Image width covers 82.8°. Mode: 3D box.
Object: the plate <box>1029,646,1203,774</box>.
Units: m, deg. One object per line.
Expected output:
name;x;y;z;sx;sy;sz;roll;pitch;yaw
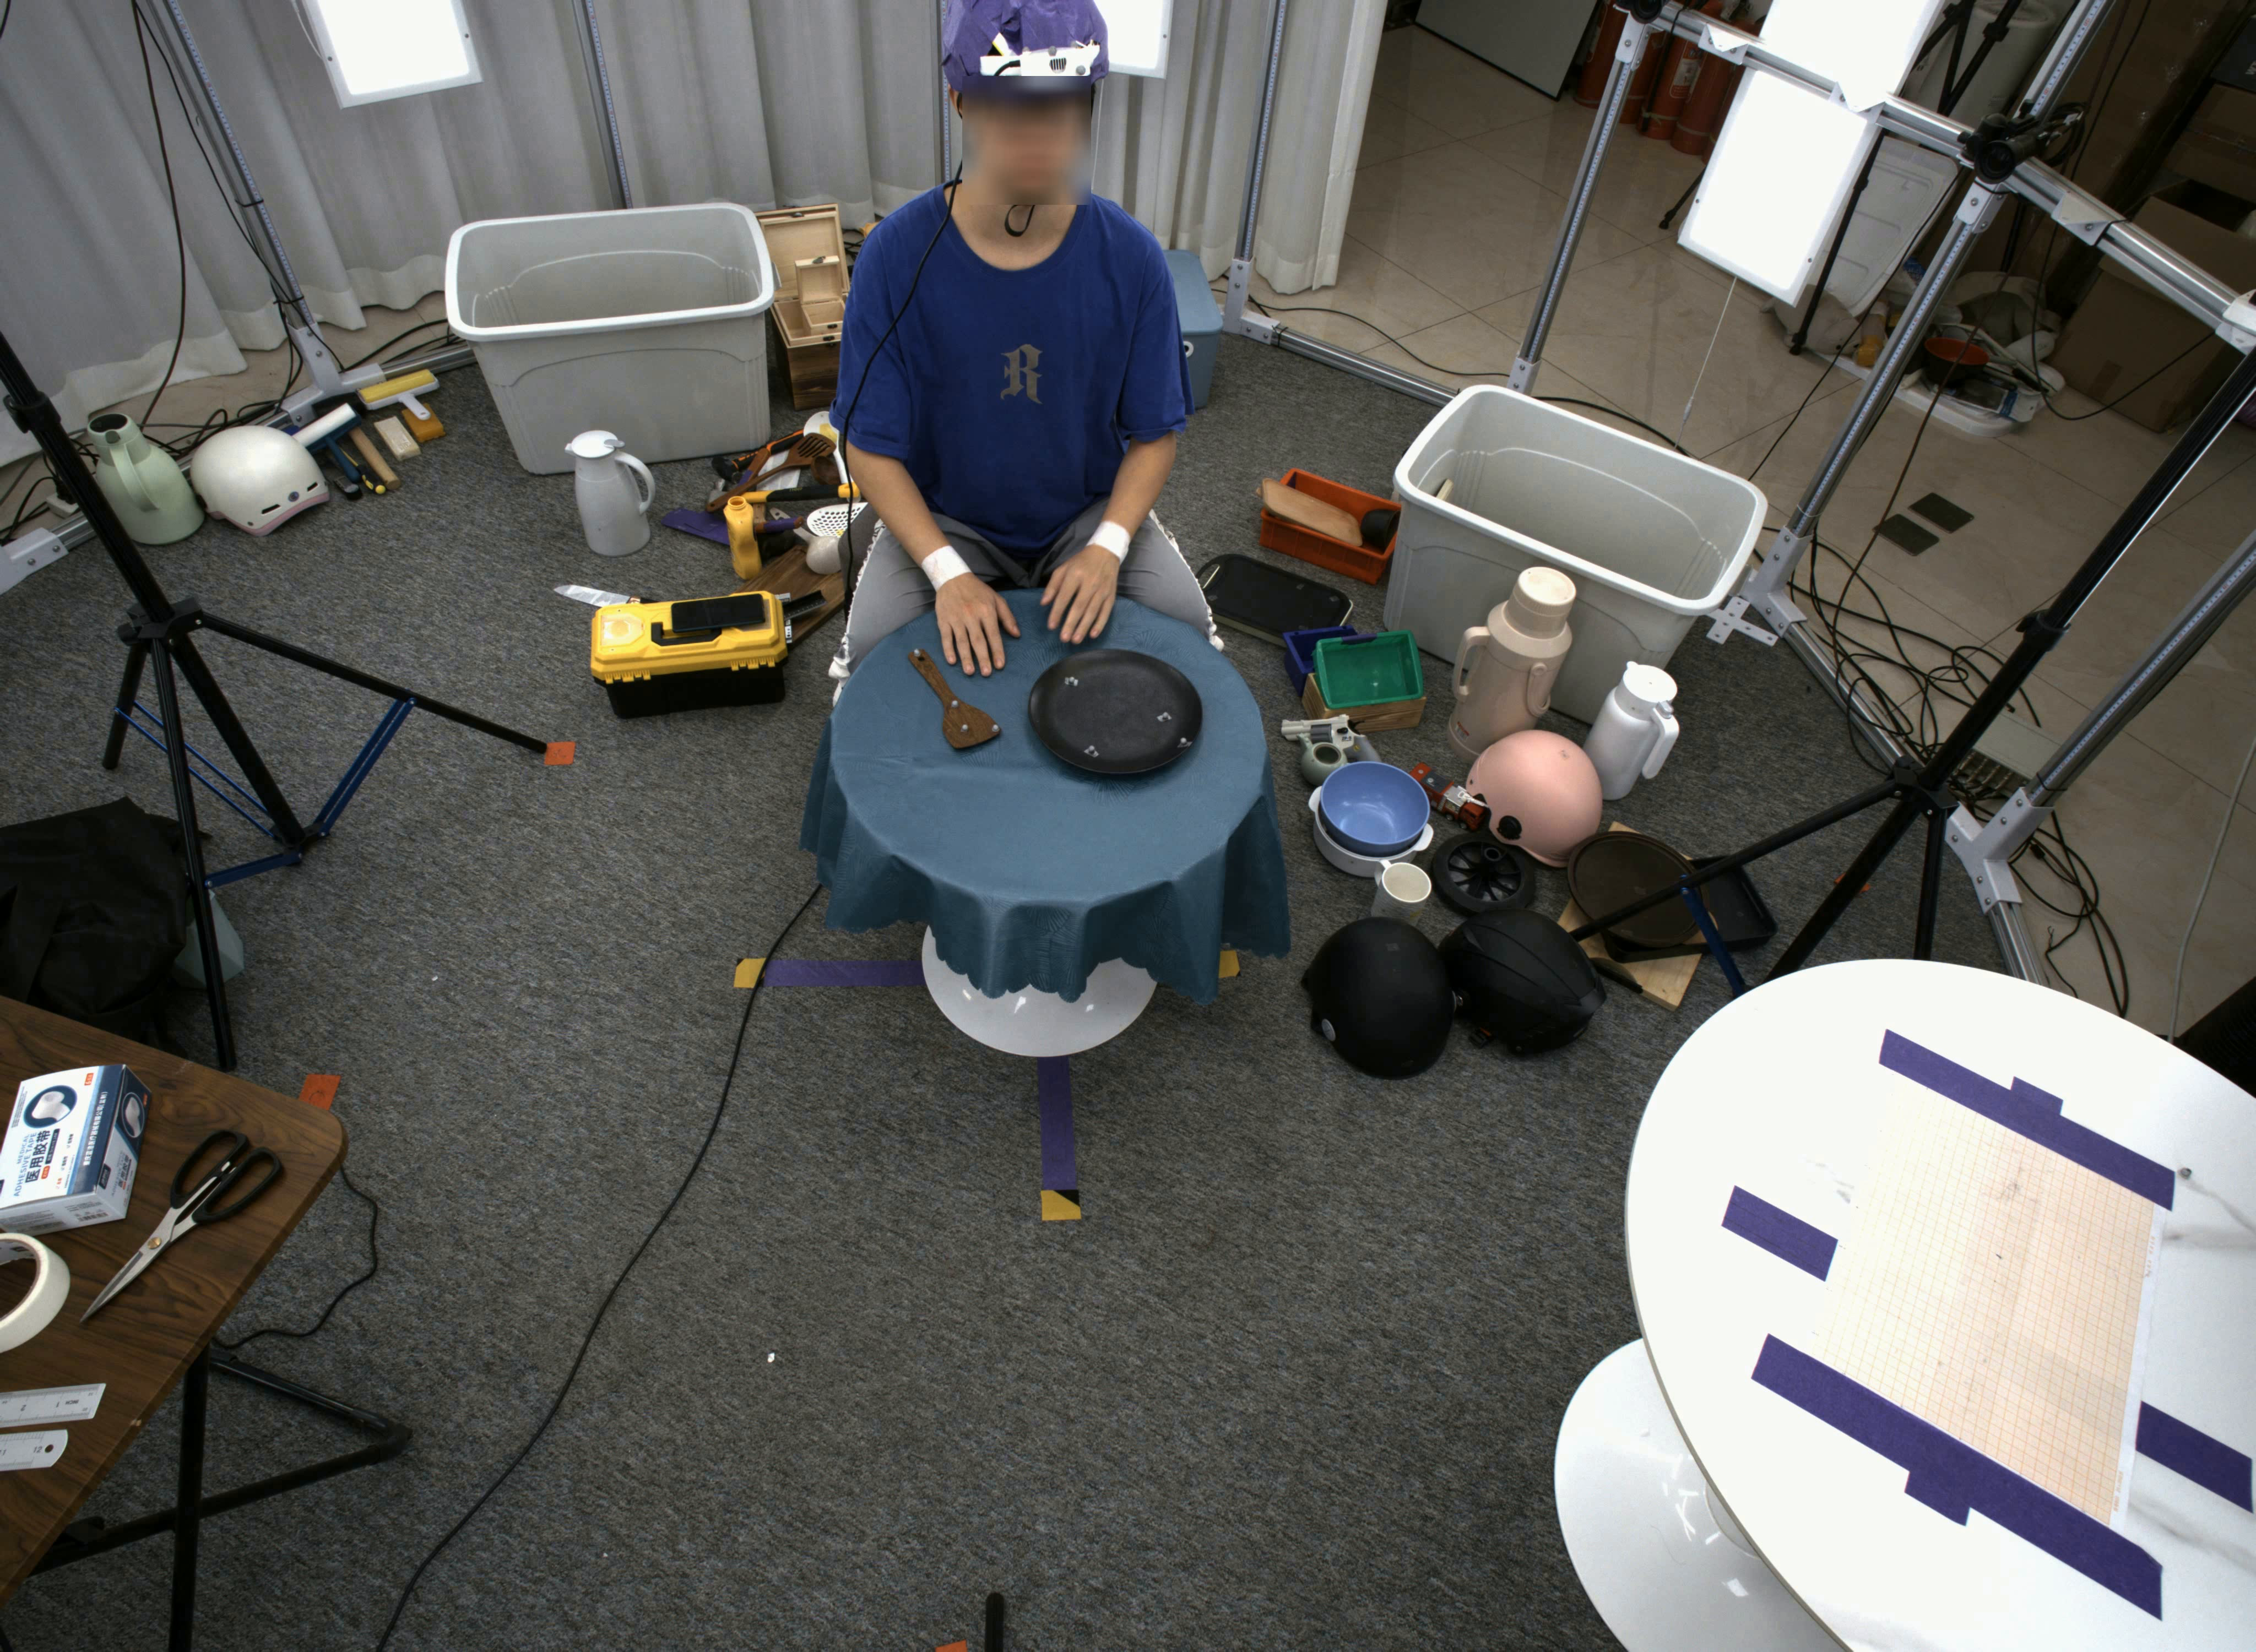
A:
plate;-0.017;-0.161;1.795;0.244;0.023;0.250;2;50;-2

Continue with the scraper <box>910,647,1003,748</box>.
scraper;-0.252;-0.184;1.810;0.076;0.010;0.216;-22;54;-21
